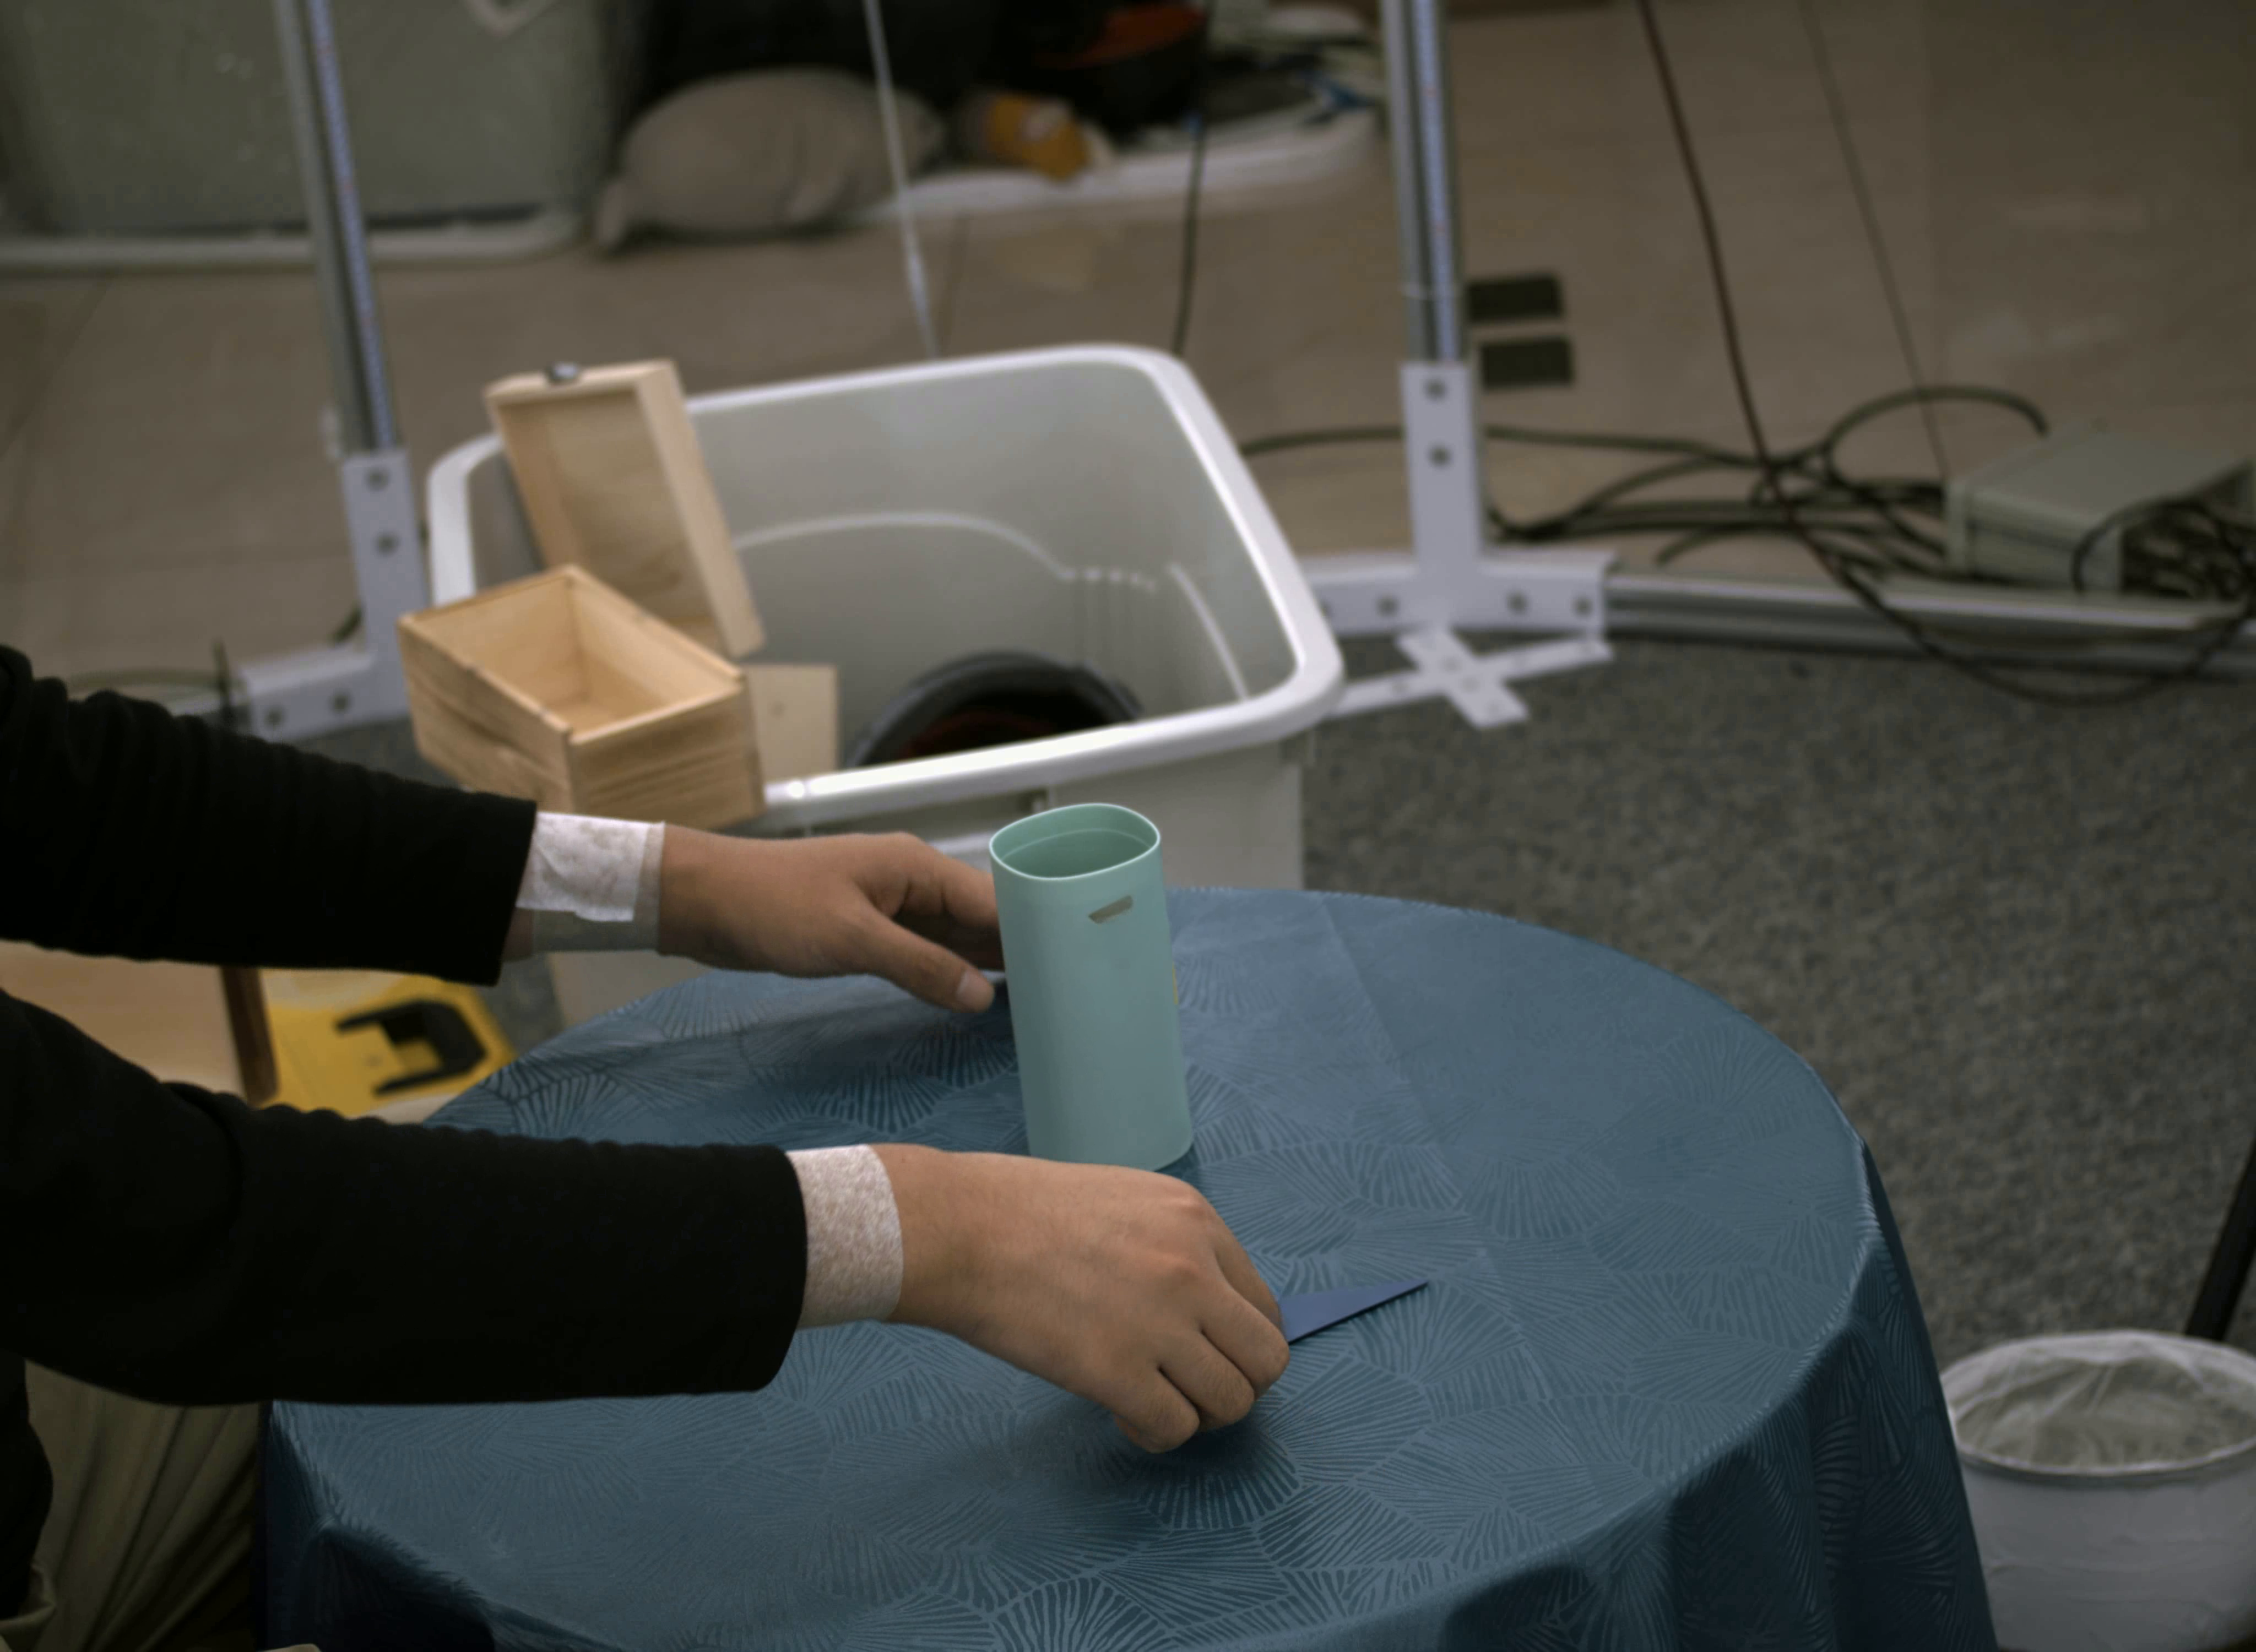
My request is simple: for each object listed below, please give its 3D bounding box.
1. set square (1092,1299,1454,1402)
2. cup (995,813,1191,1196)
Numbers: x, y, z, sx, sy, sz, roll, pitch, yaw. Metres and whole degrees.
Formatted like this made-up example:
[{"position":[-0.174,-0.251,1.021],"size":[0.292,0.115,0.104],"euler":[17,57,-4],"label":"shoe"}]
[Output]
[{"position":[0.051,0.187,2.029],"size":[0.132,0.006,0.060],"euler":[-5,24,3],"label":"set square"},{"position":[-0.014,0.068,2.156],"size":[0.066,0.134,0.066],"euler":[-5,26,2],"label":"cup"}]
